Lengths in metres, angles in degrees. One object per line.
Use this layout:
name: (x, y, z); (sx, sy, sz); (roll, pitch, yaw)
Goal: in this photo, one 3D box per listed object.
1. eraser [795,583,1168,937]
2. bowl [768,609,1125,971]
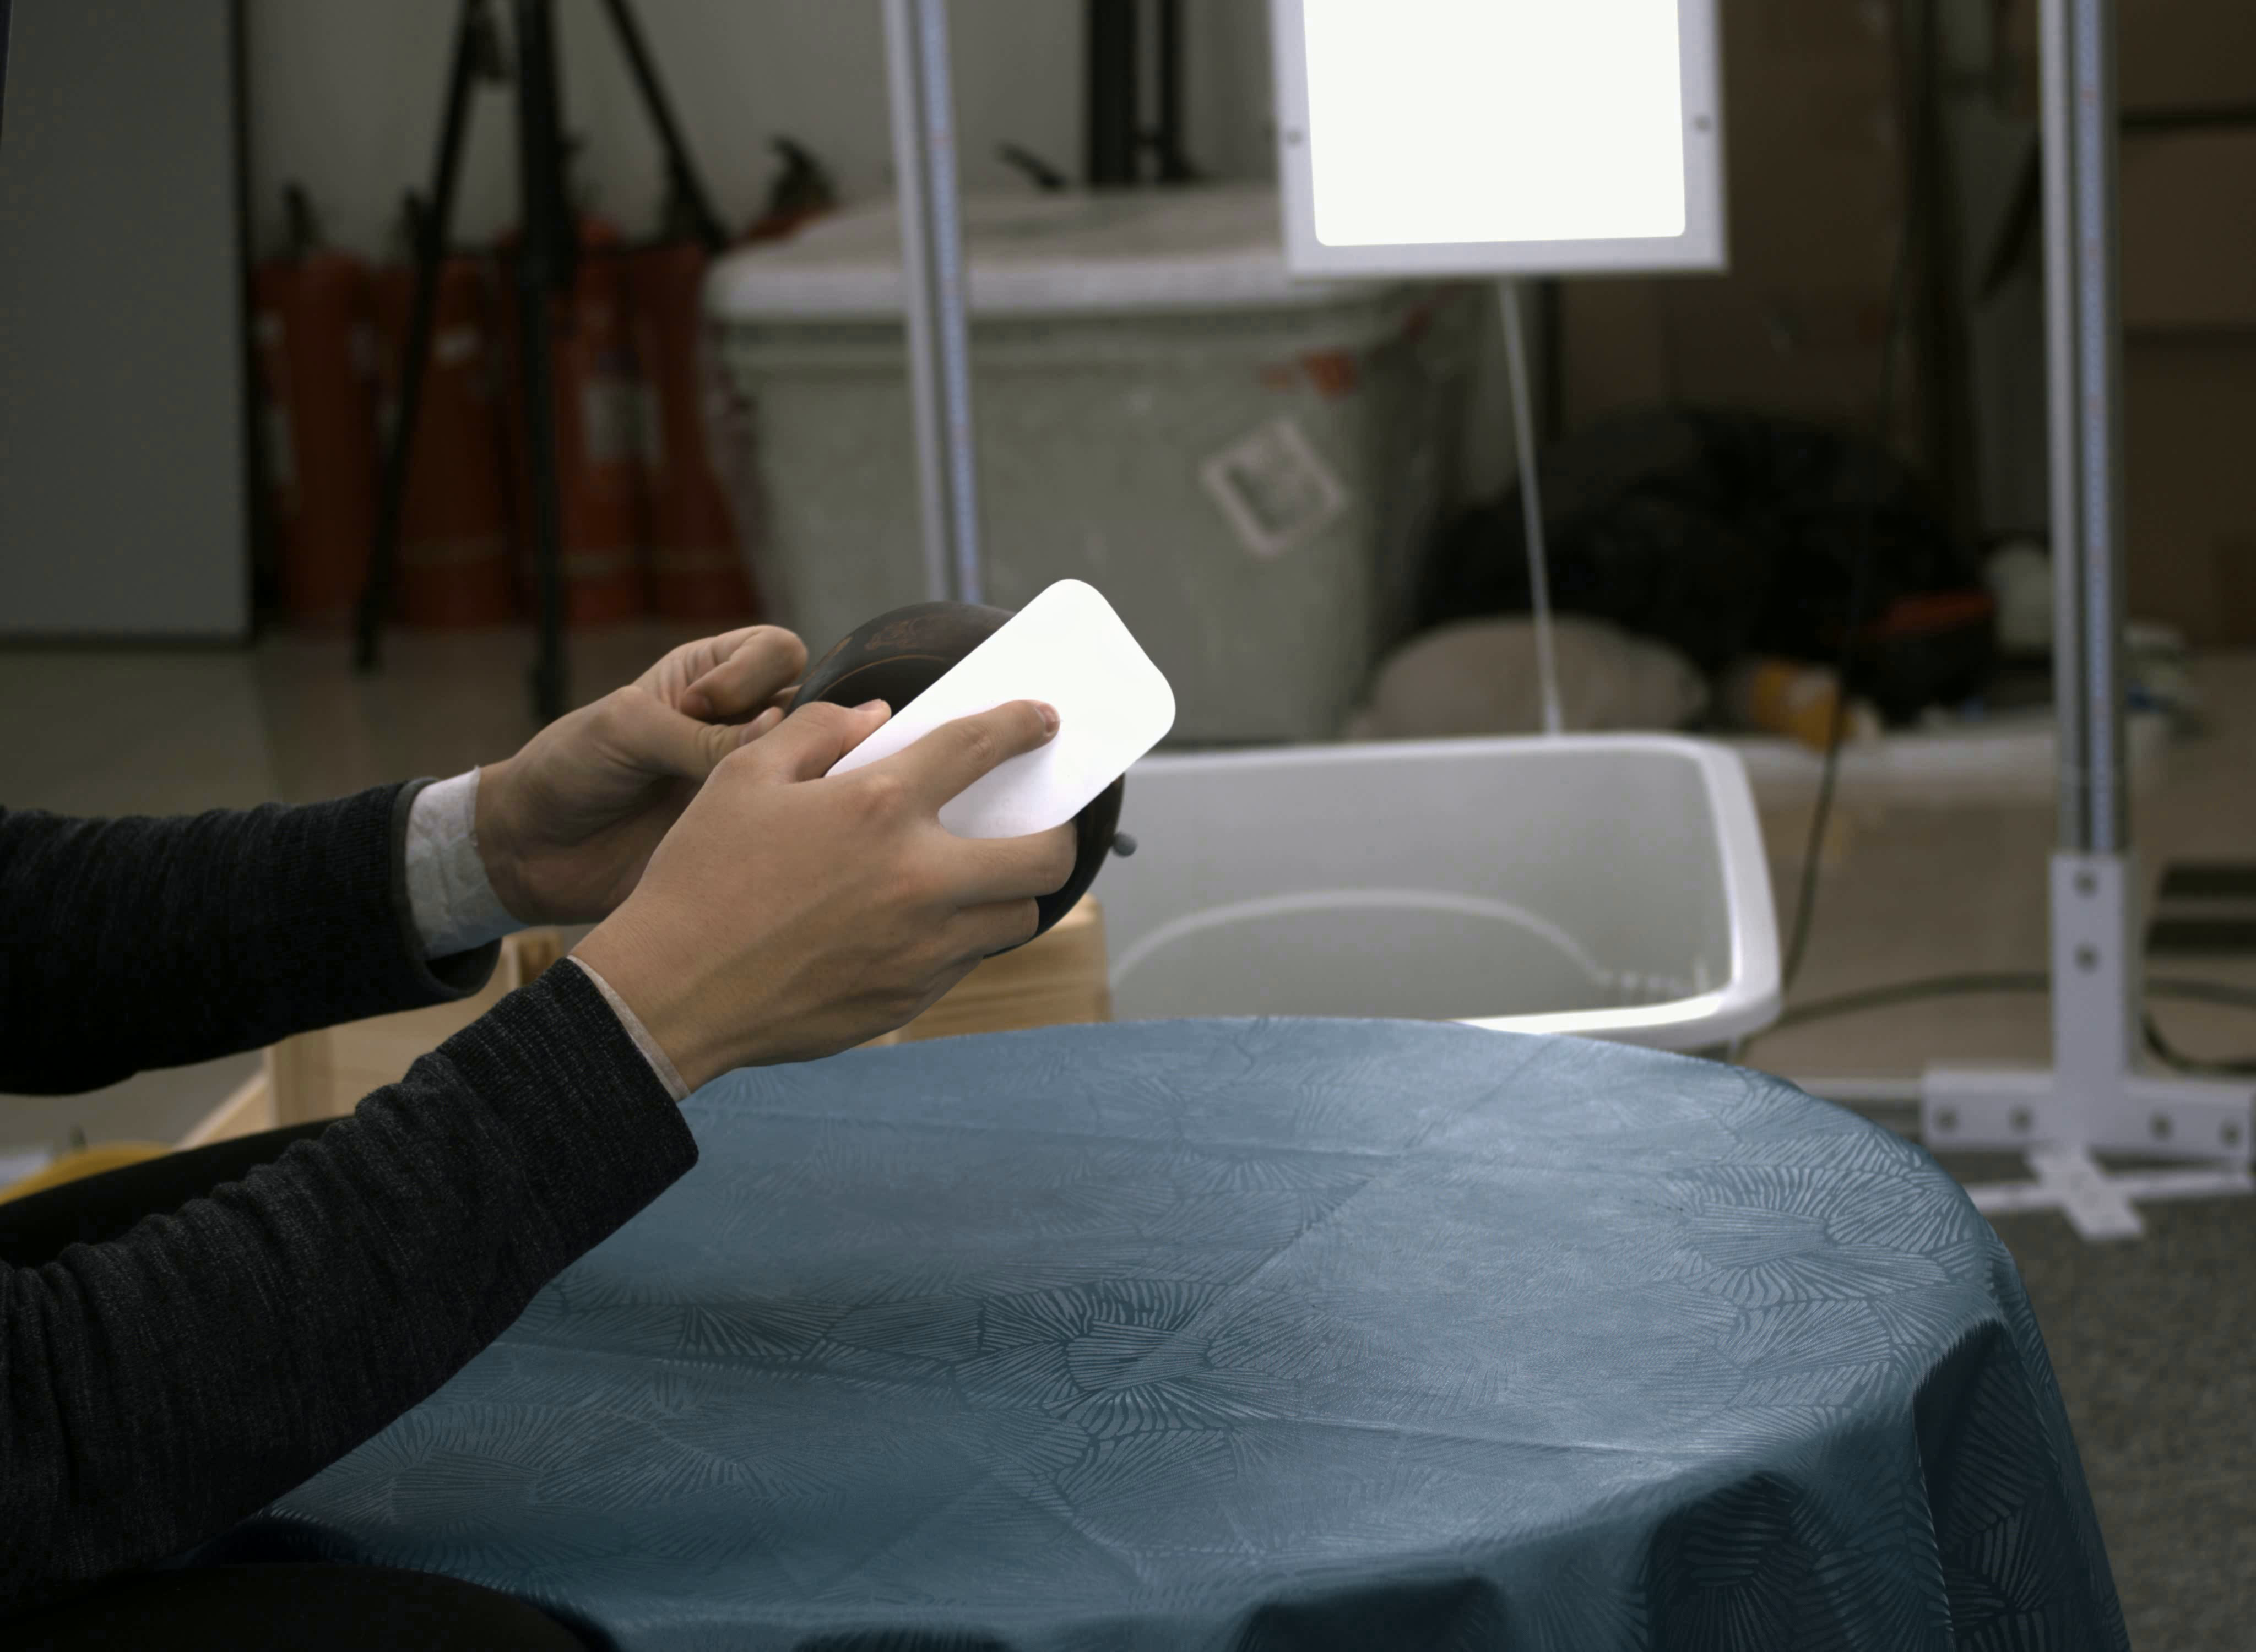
eraser: (-0.046, -0.022, 1.731); (0.129, 0.063, 0.035); (-41, 4, -30)
bowl: (-0.061, -0.005, 1.798); (0.118, 0.118, 0.069); (-2, 26, 8)
